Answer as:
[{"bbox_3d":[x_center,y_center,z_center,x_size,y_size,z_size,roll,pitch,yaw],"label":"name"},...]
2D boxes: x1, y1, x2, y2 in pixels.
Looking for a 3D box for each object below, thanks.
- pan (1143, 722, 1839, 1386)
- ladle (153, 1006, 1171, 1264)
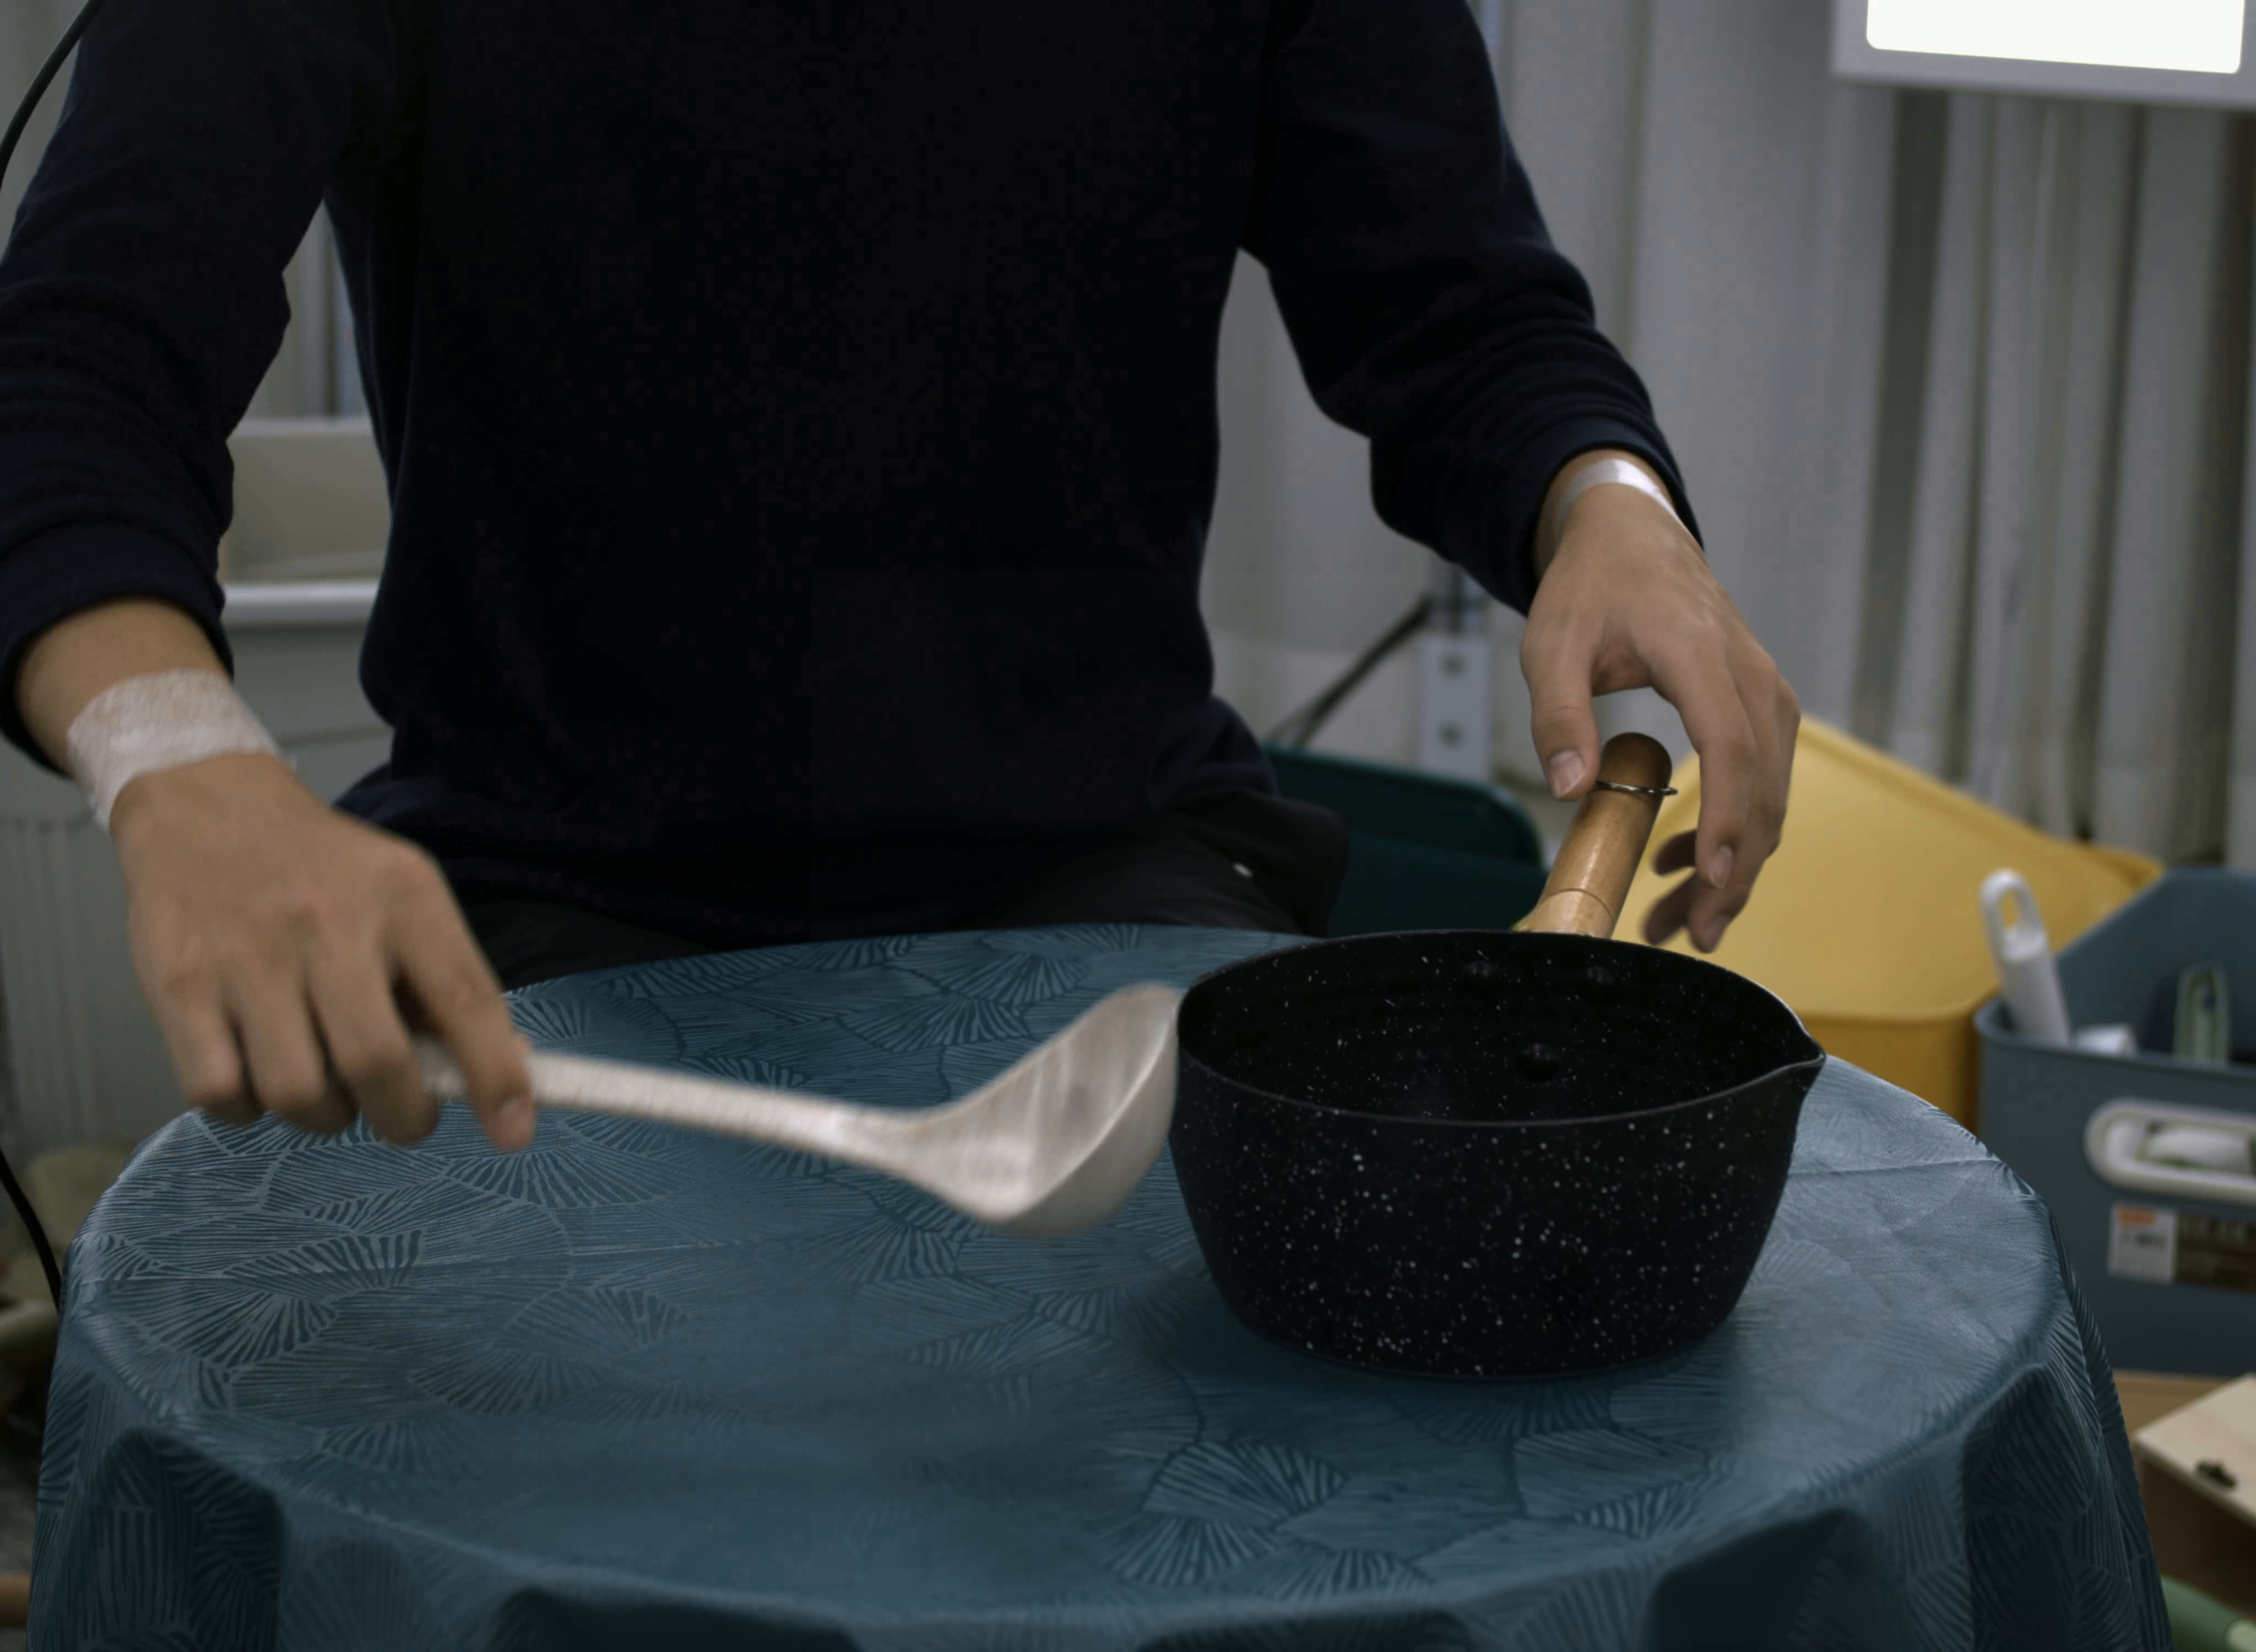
[{"bbox_3d":[0.122,0.064,1.598,0.206,0.109,0.342,3,17,14],"label":"pan"},{"bbox_3d":[-0.125,0.062,1.412,0.274,0.070,0.089,10,35,0],"label":"ladle"}]
